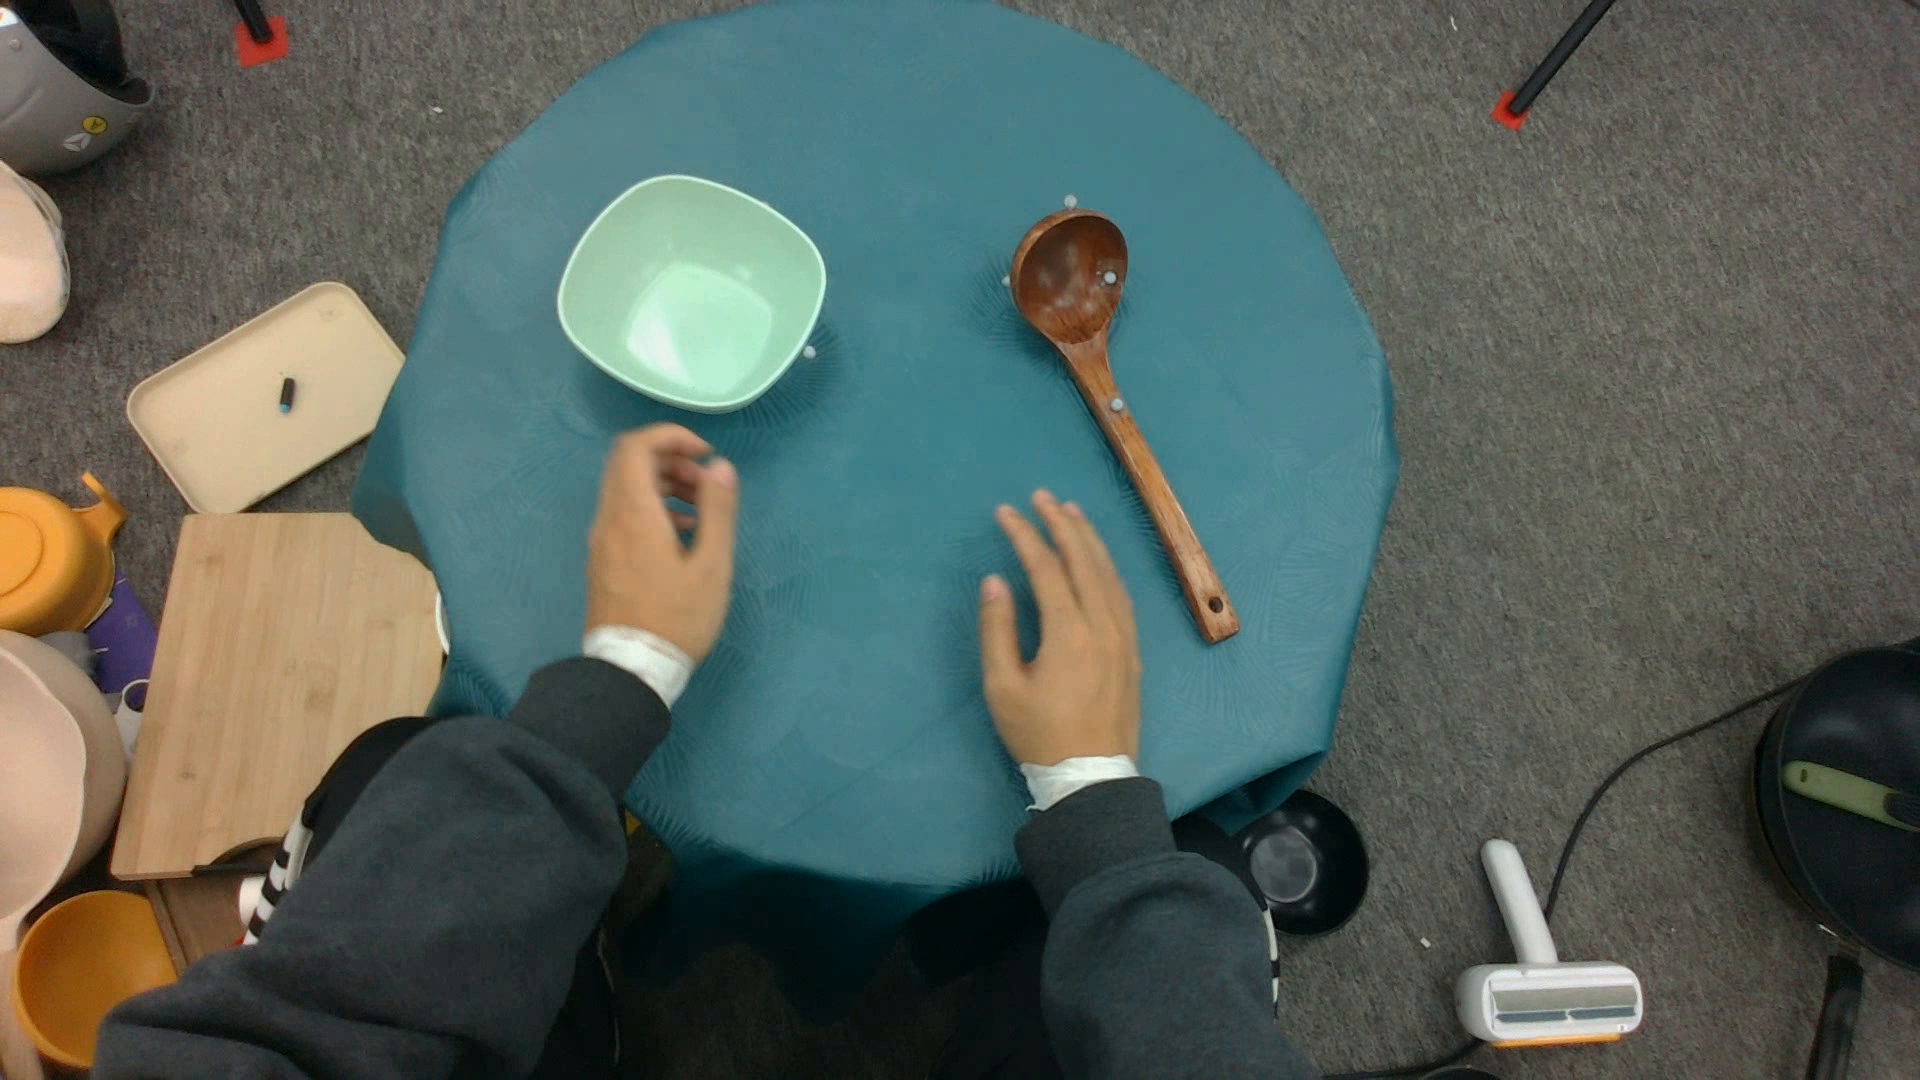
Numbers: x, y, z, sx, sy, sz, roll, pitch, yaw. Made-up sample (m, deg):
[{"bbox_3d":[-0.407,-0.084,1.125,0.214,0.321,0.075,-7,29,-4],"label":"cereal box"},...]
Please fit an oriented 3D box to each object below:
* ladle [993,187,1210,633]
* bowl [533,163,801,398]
[{"bbox_3d":[0.097,-0.082,0.813,0.082,0.076,0.274,-18,73,-19],"label":"ladle"},{"bbox_3d":[-0.168,-0.141,0.802,0.151,0.058,0.152,4,67,-9],"label":"bowl"}]
